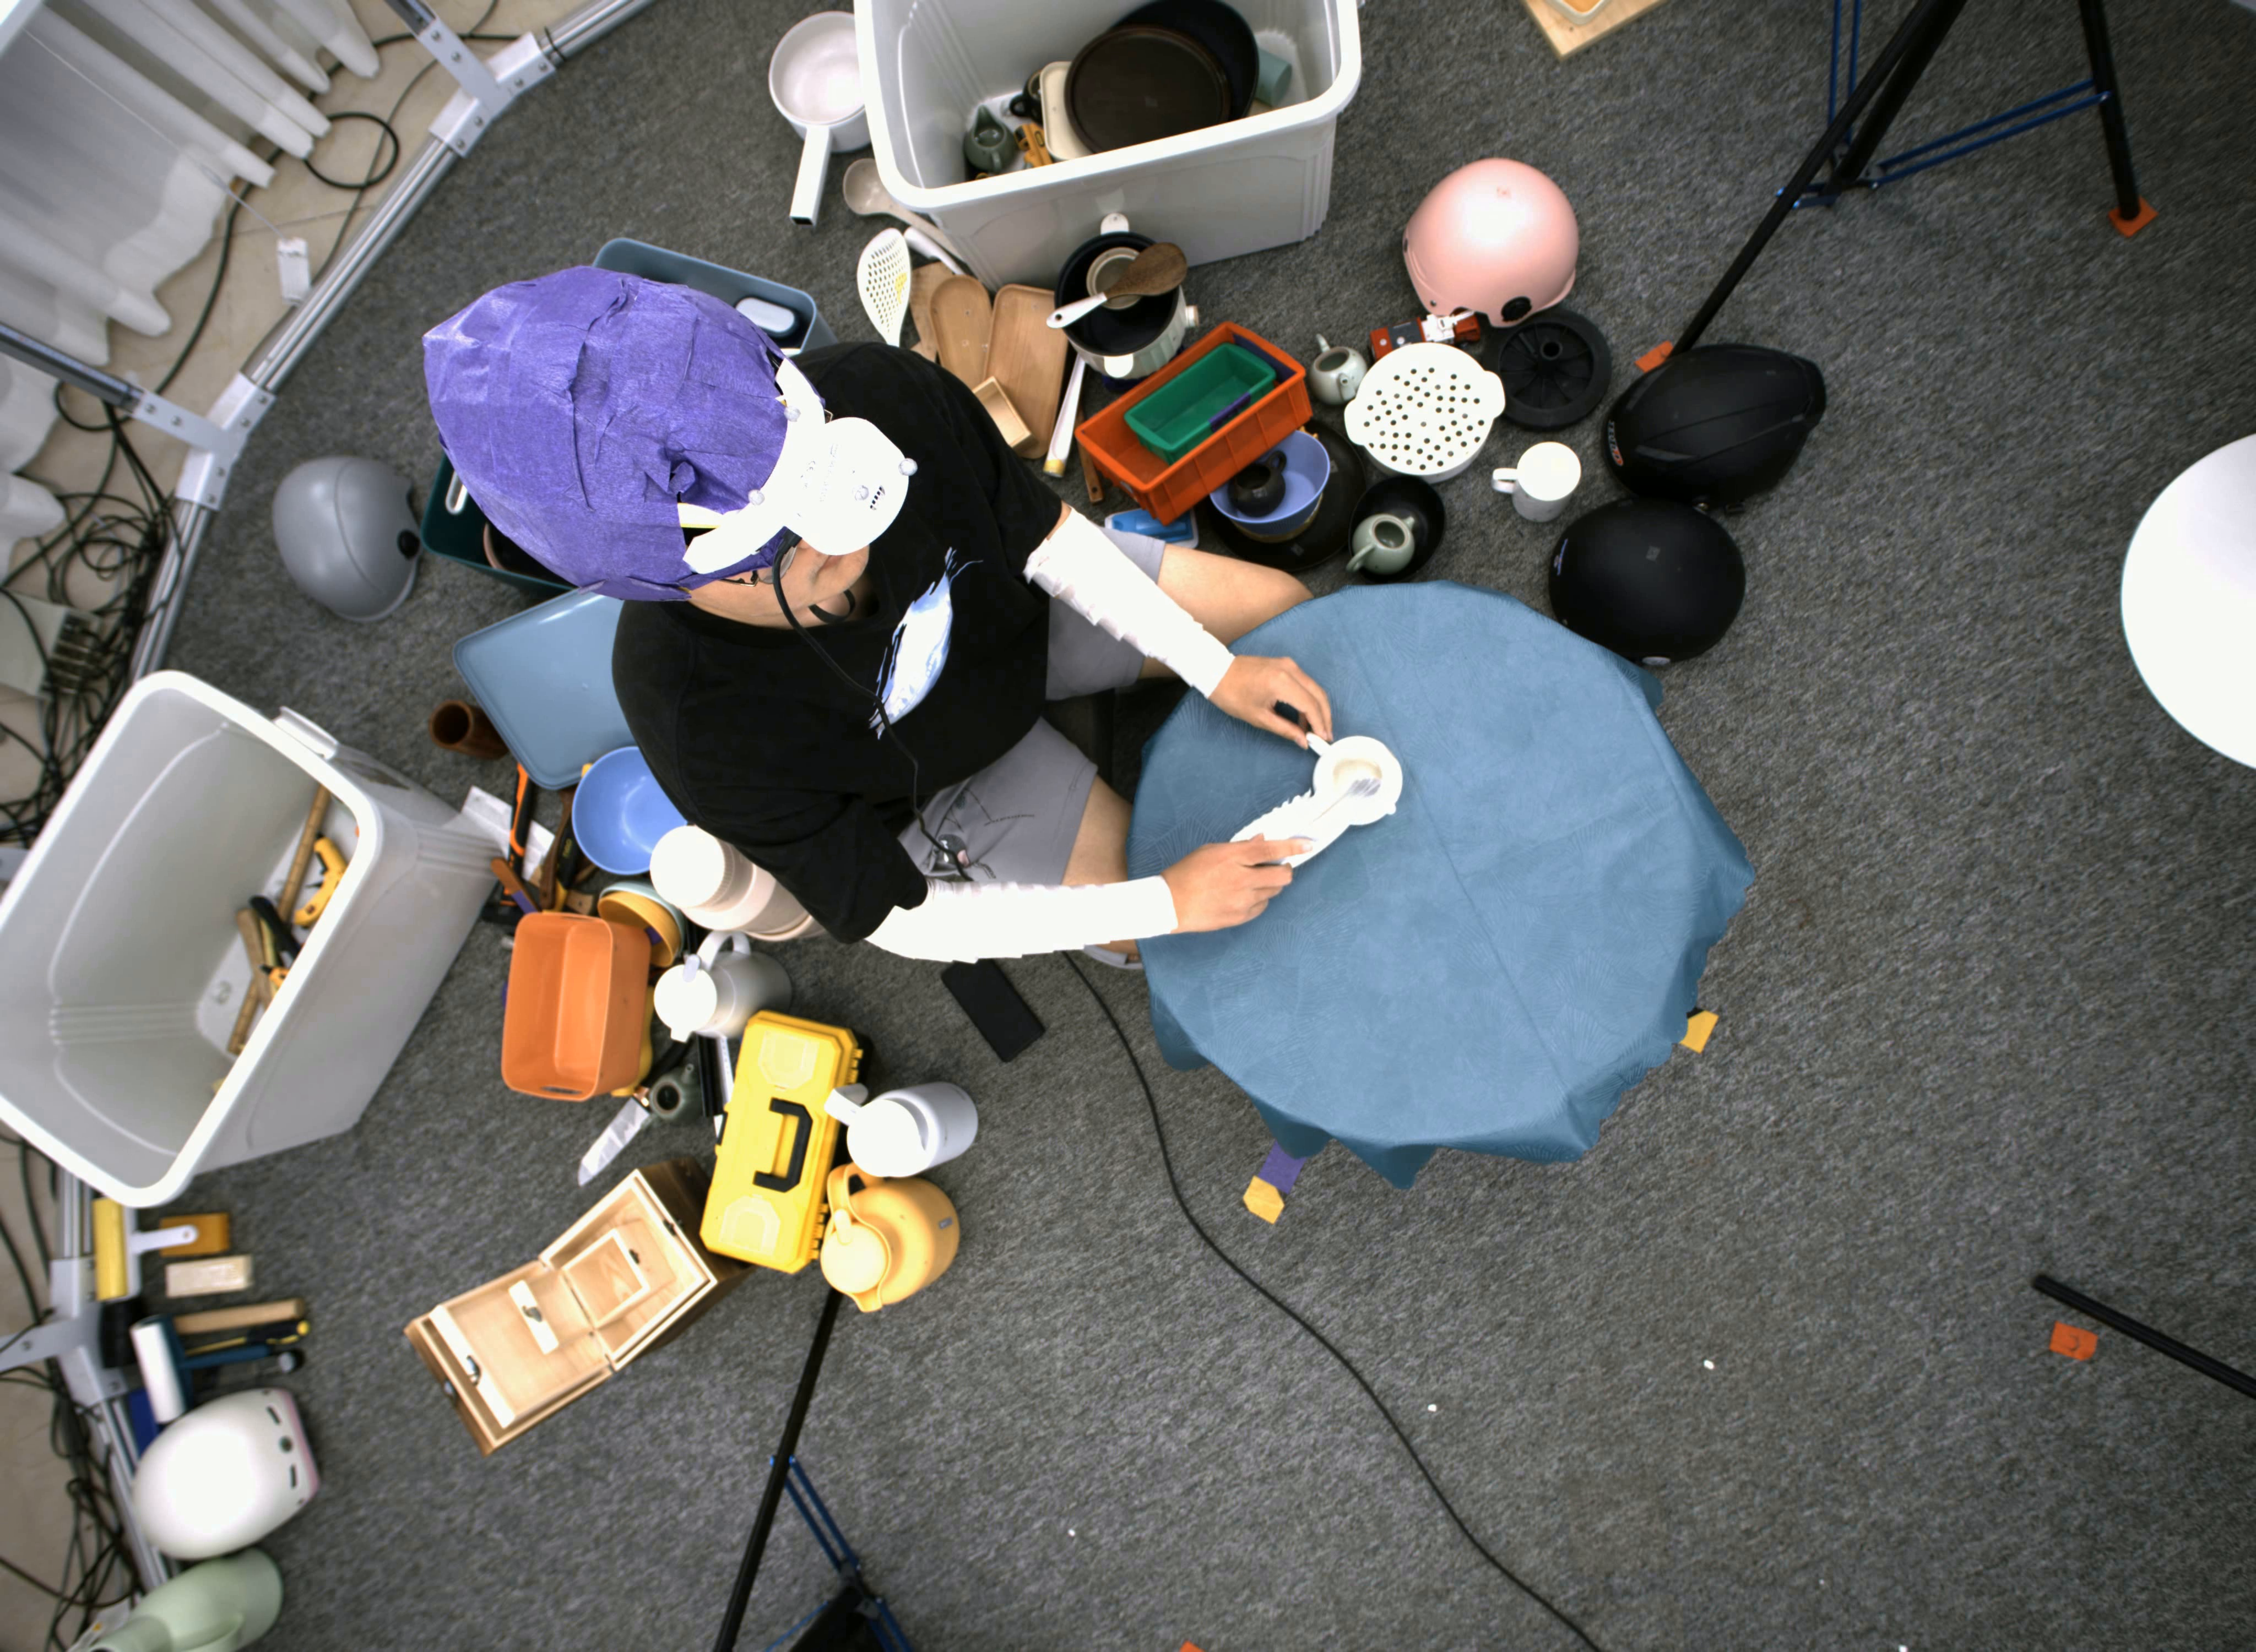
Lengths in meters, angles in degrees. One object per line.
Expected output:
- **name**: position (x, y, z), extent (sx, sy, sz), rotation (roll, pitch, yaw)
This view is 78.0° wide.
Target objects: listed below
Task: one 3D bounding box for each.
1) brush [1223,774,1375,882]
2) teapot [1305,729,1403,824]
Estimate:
- **brush**: position (0.170, 0.004, 1.397), extent (0.178, 0.092, 0.062), rotation (-31, 102, 31)
- **teapot**: position (0.233, -0.057, 1.445), extent (0.127, 0.056, 0.094), rotation (41, 98, 12)
